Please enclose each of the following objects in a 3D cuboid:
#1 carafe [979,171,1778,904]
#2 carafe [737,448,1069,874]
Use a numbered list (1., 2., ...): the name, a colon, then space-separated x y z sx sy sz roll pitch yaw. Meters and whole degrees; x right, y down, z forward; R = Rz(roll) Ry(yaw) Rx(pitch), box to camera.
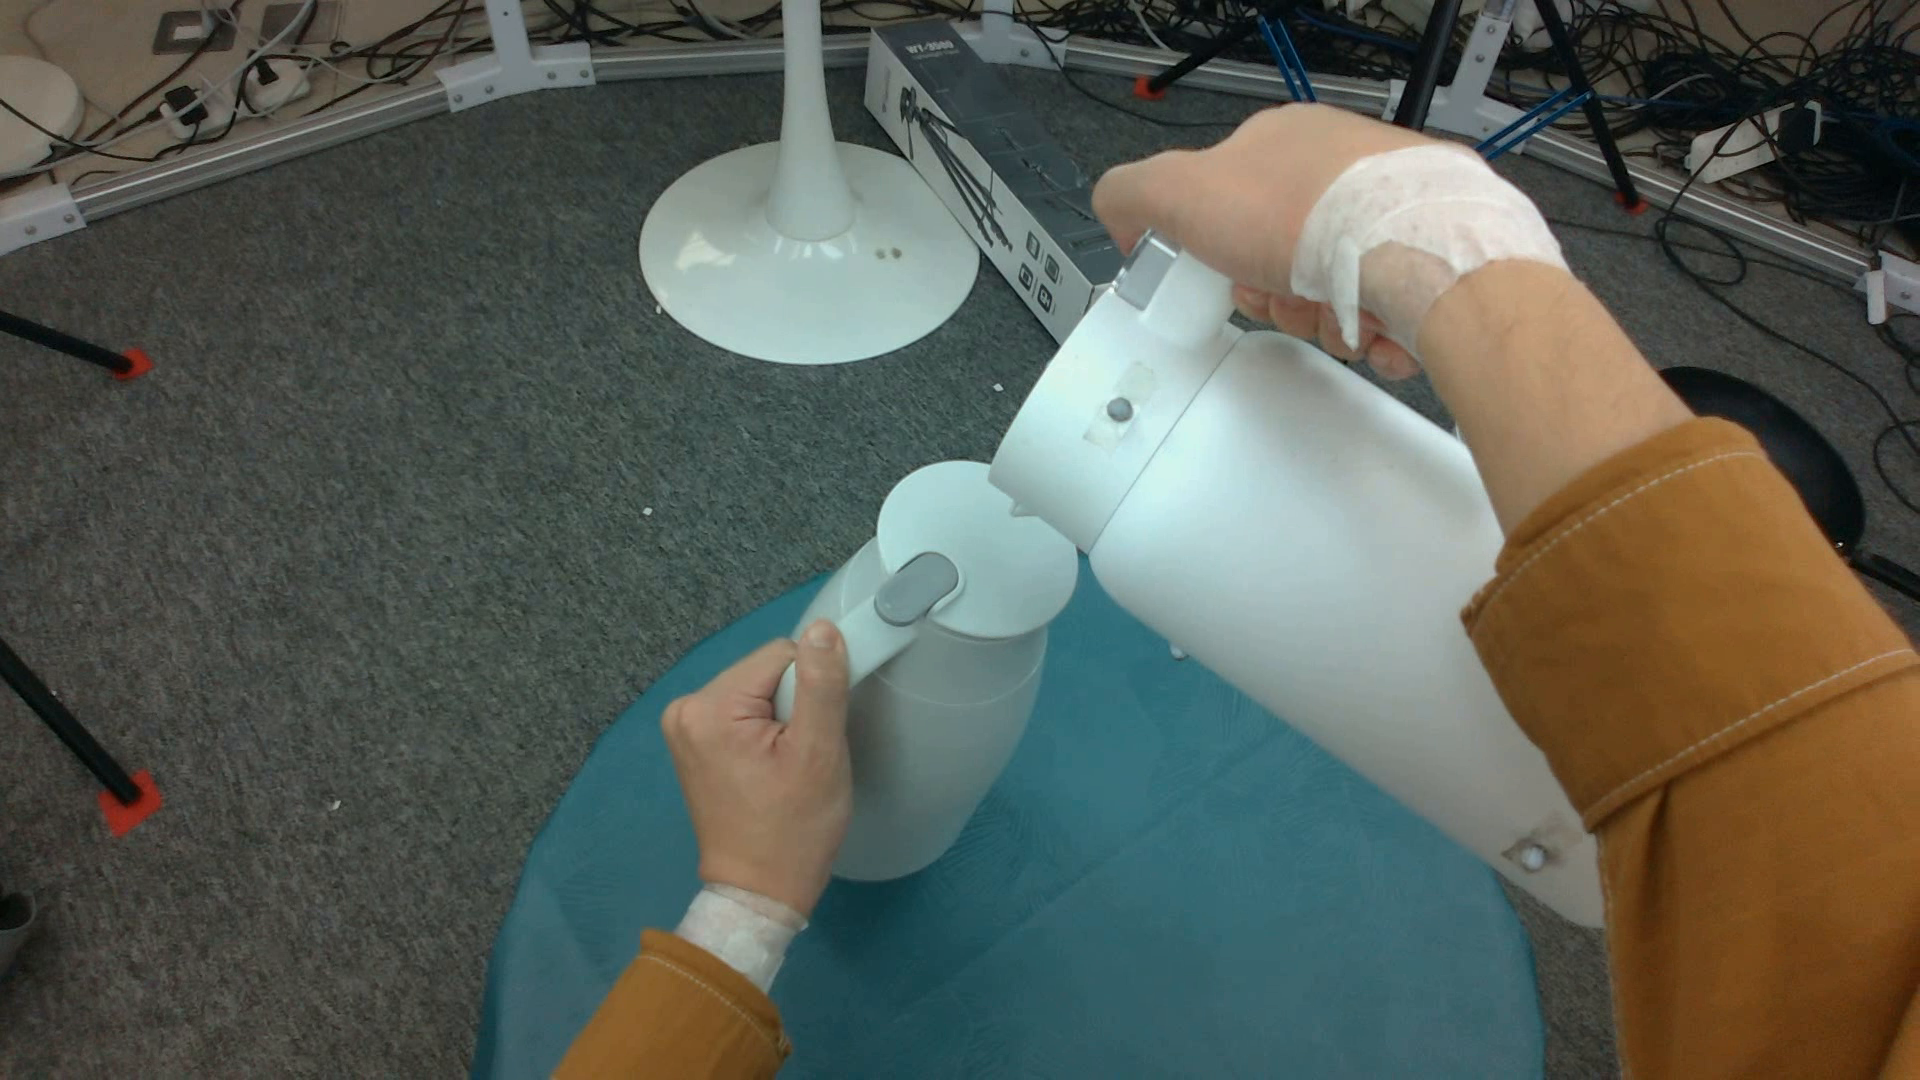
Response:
1. carafe: 0.149 -0.004 0.490 0.269 0.172 0.124 37 40 8
2. carafe: -0.039 0.070 0.676 0.168 0.247 0.132 -32 72 -33
